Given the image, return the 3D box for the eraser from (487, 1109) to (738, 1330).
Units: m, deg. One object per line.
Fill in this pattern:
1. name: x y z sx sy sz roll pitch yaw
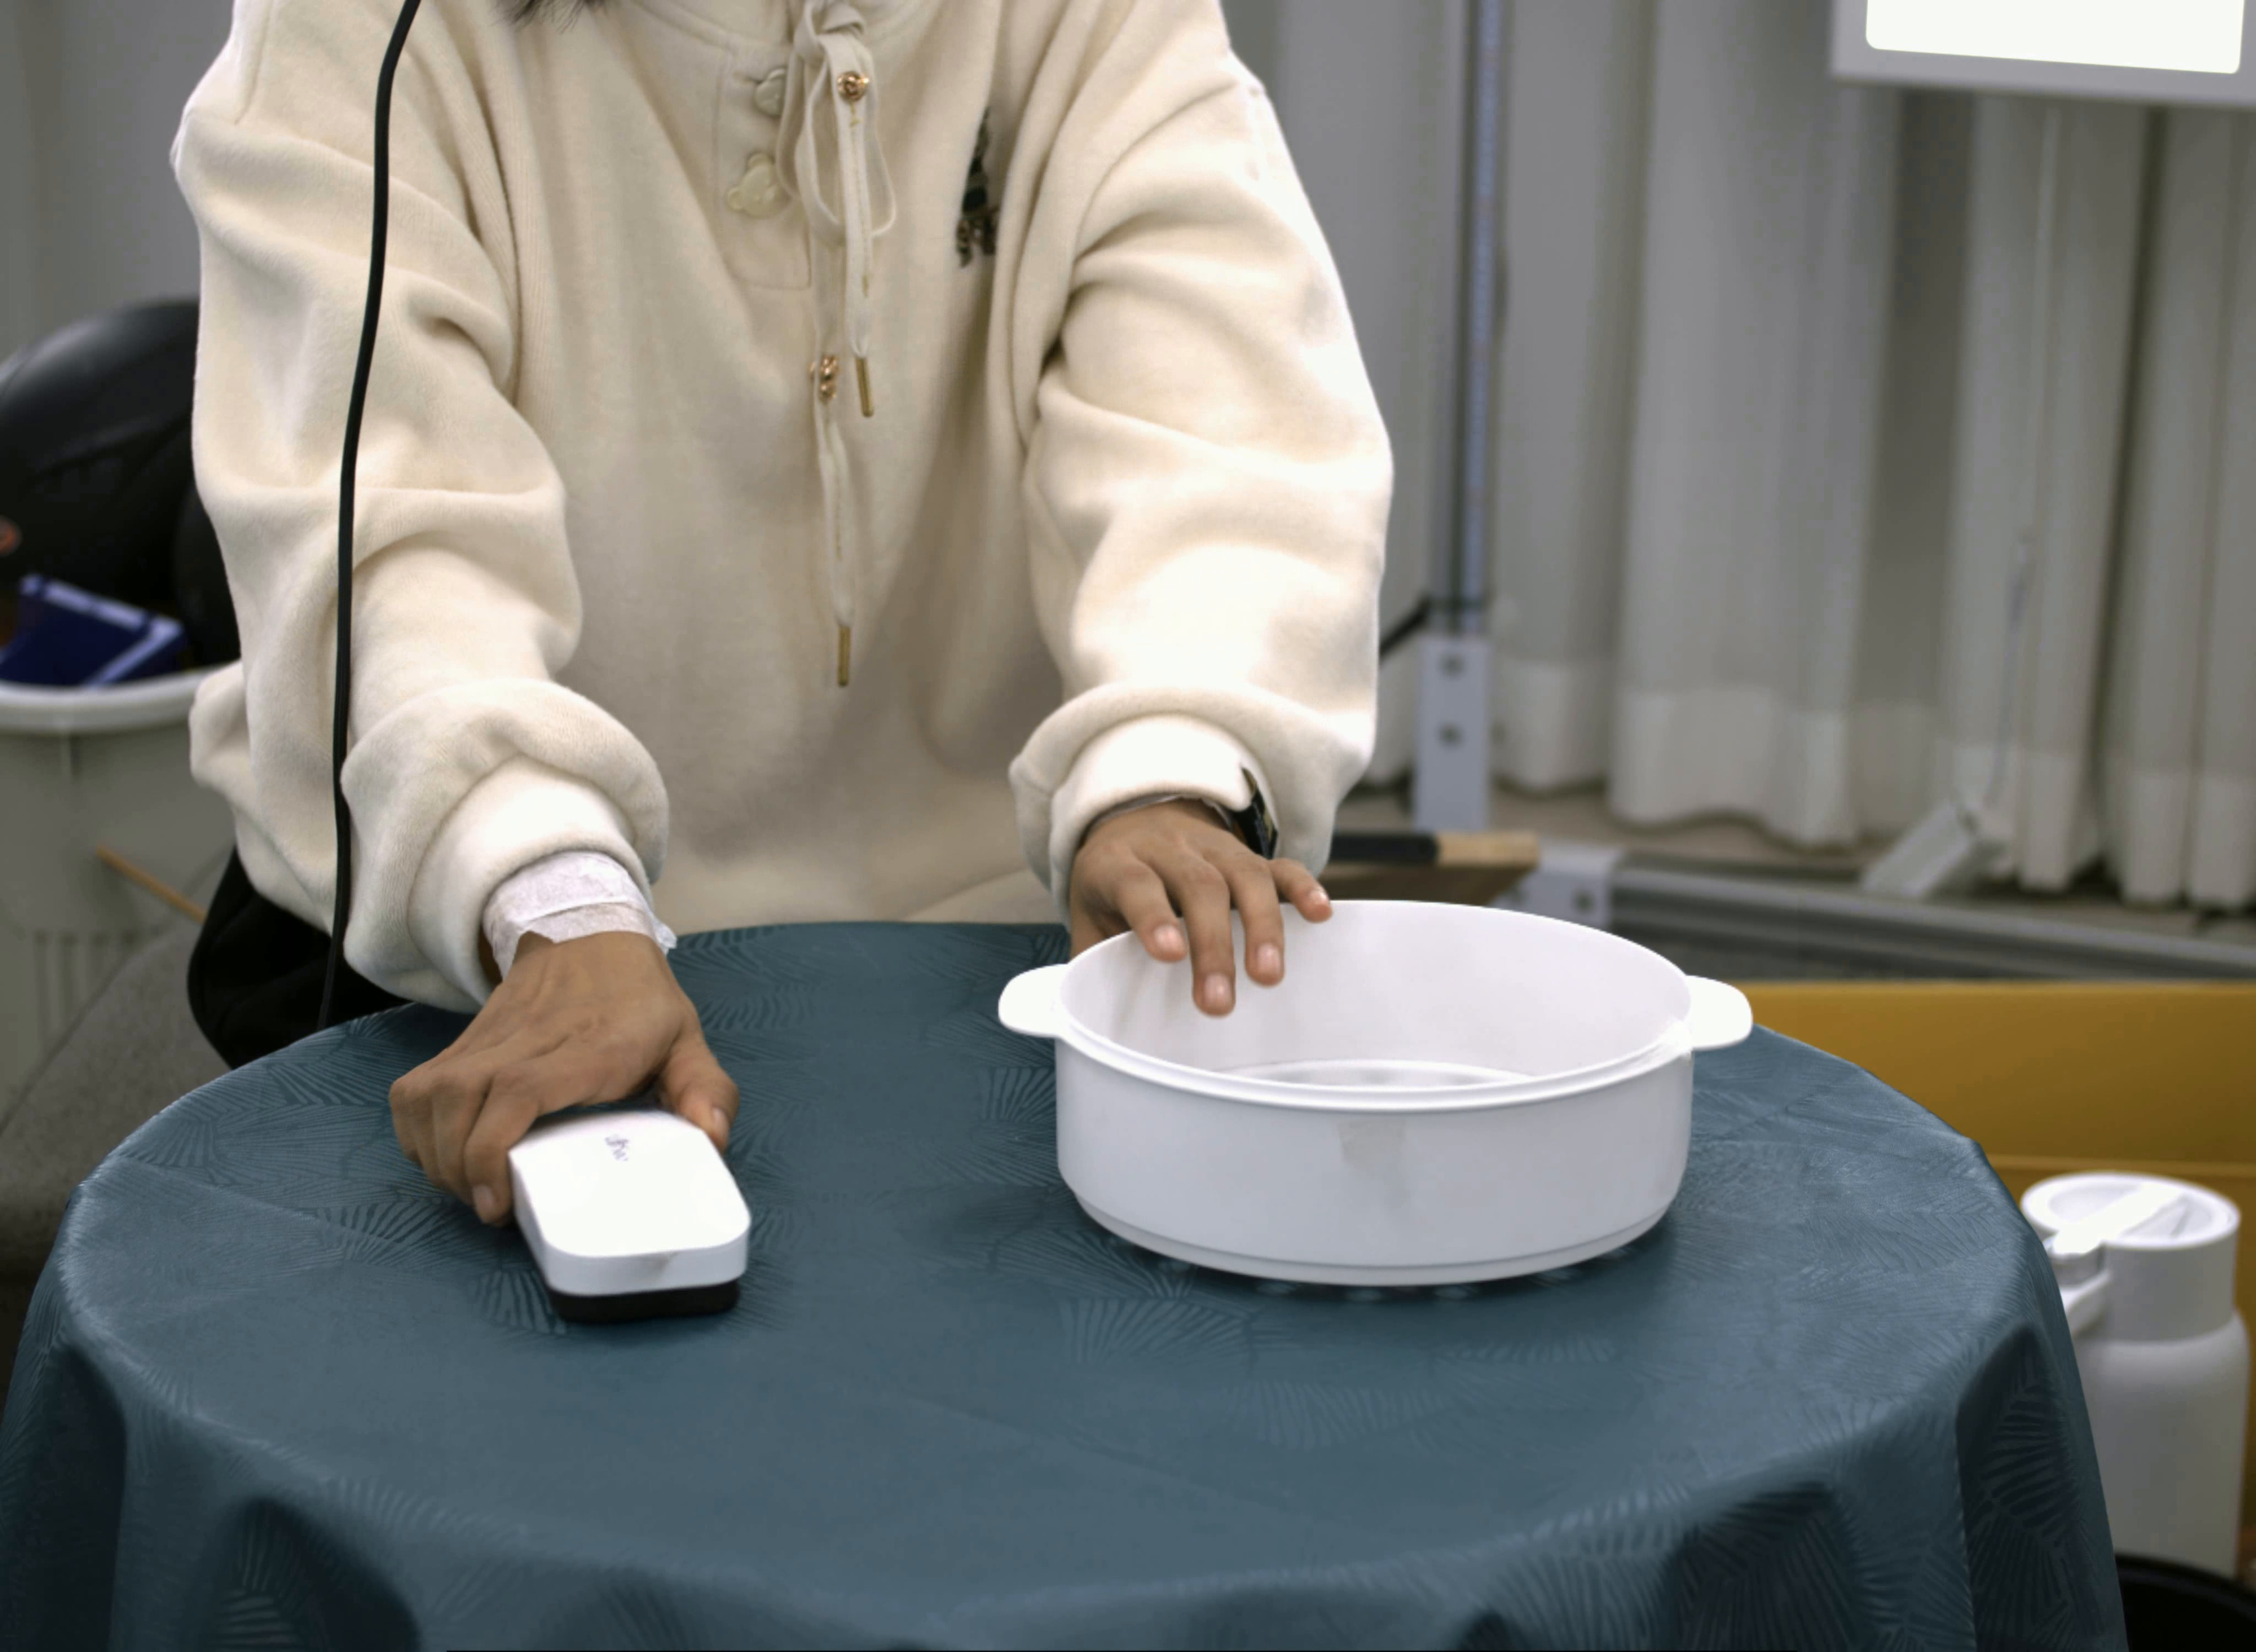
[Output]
1. eraser: -0.152 0.112 1.561 0.063 0.035 0.130 -4 17 -13

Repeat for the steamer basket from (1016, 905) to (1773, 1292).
1. steamer basket: 0.080 0.082 1.608 0.229 0.070 0.201 2 15 2
